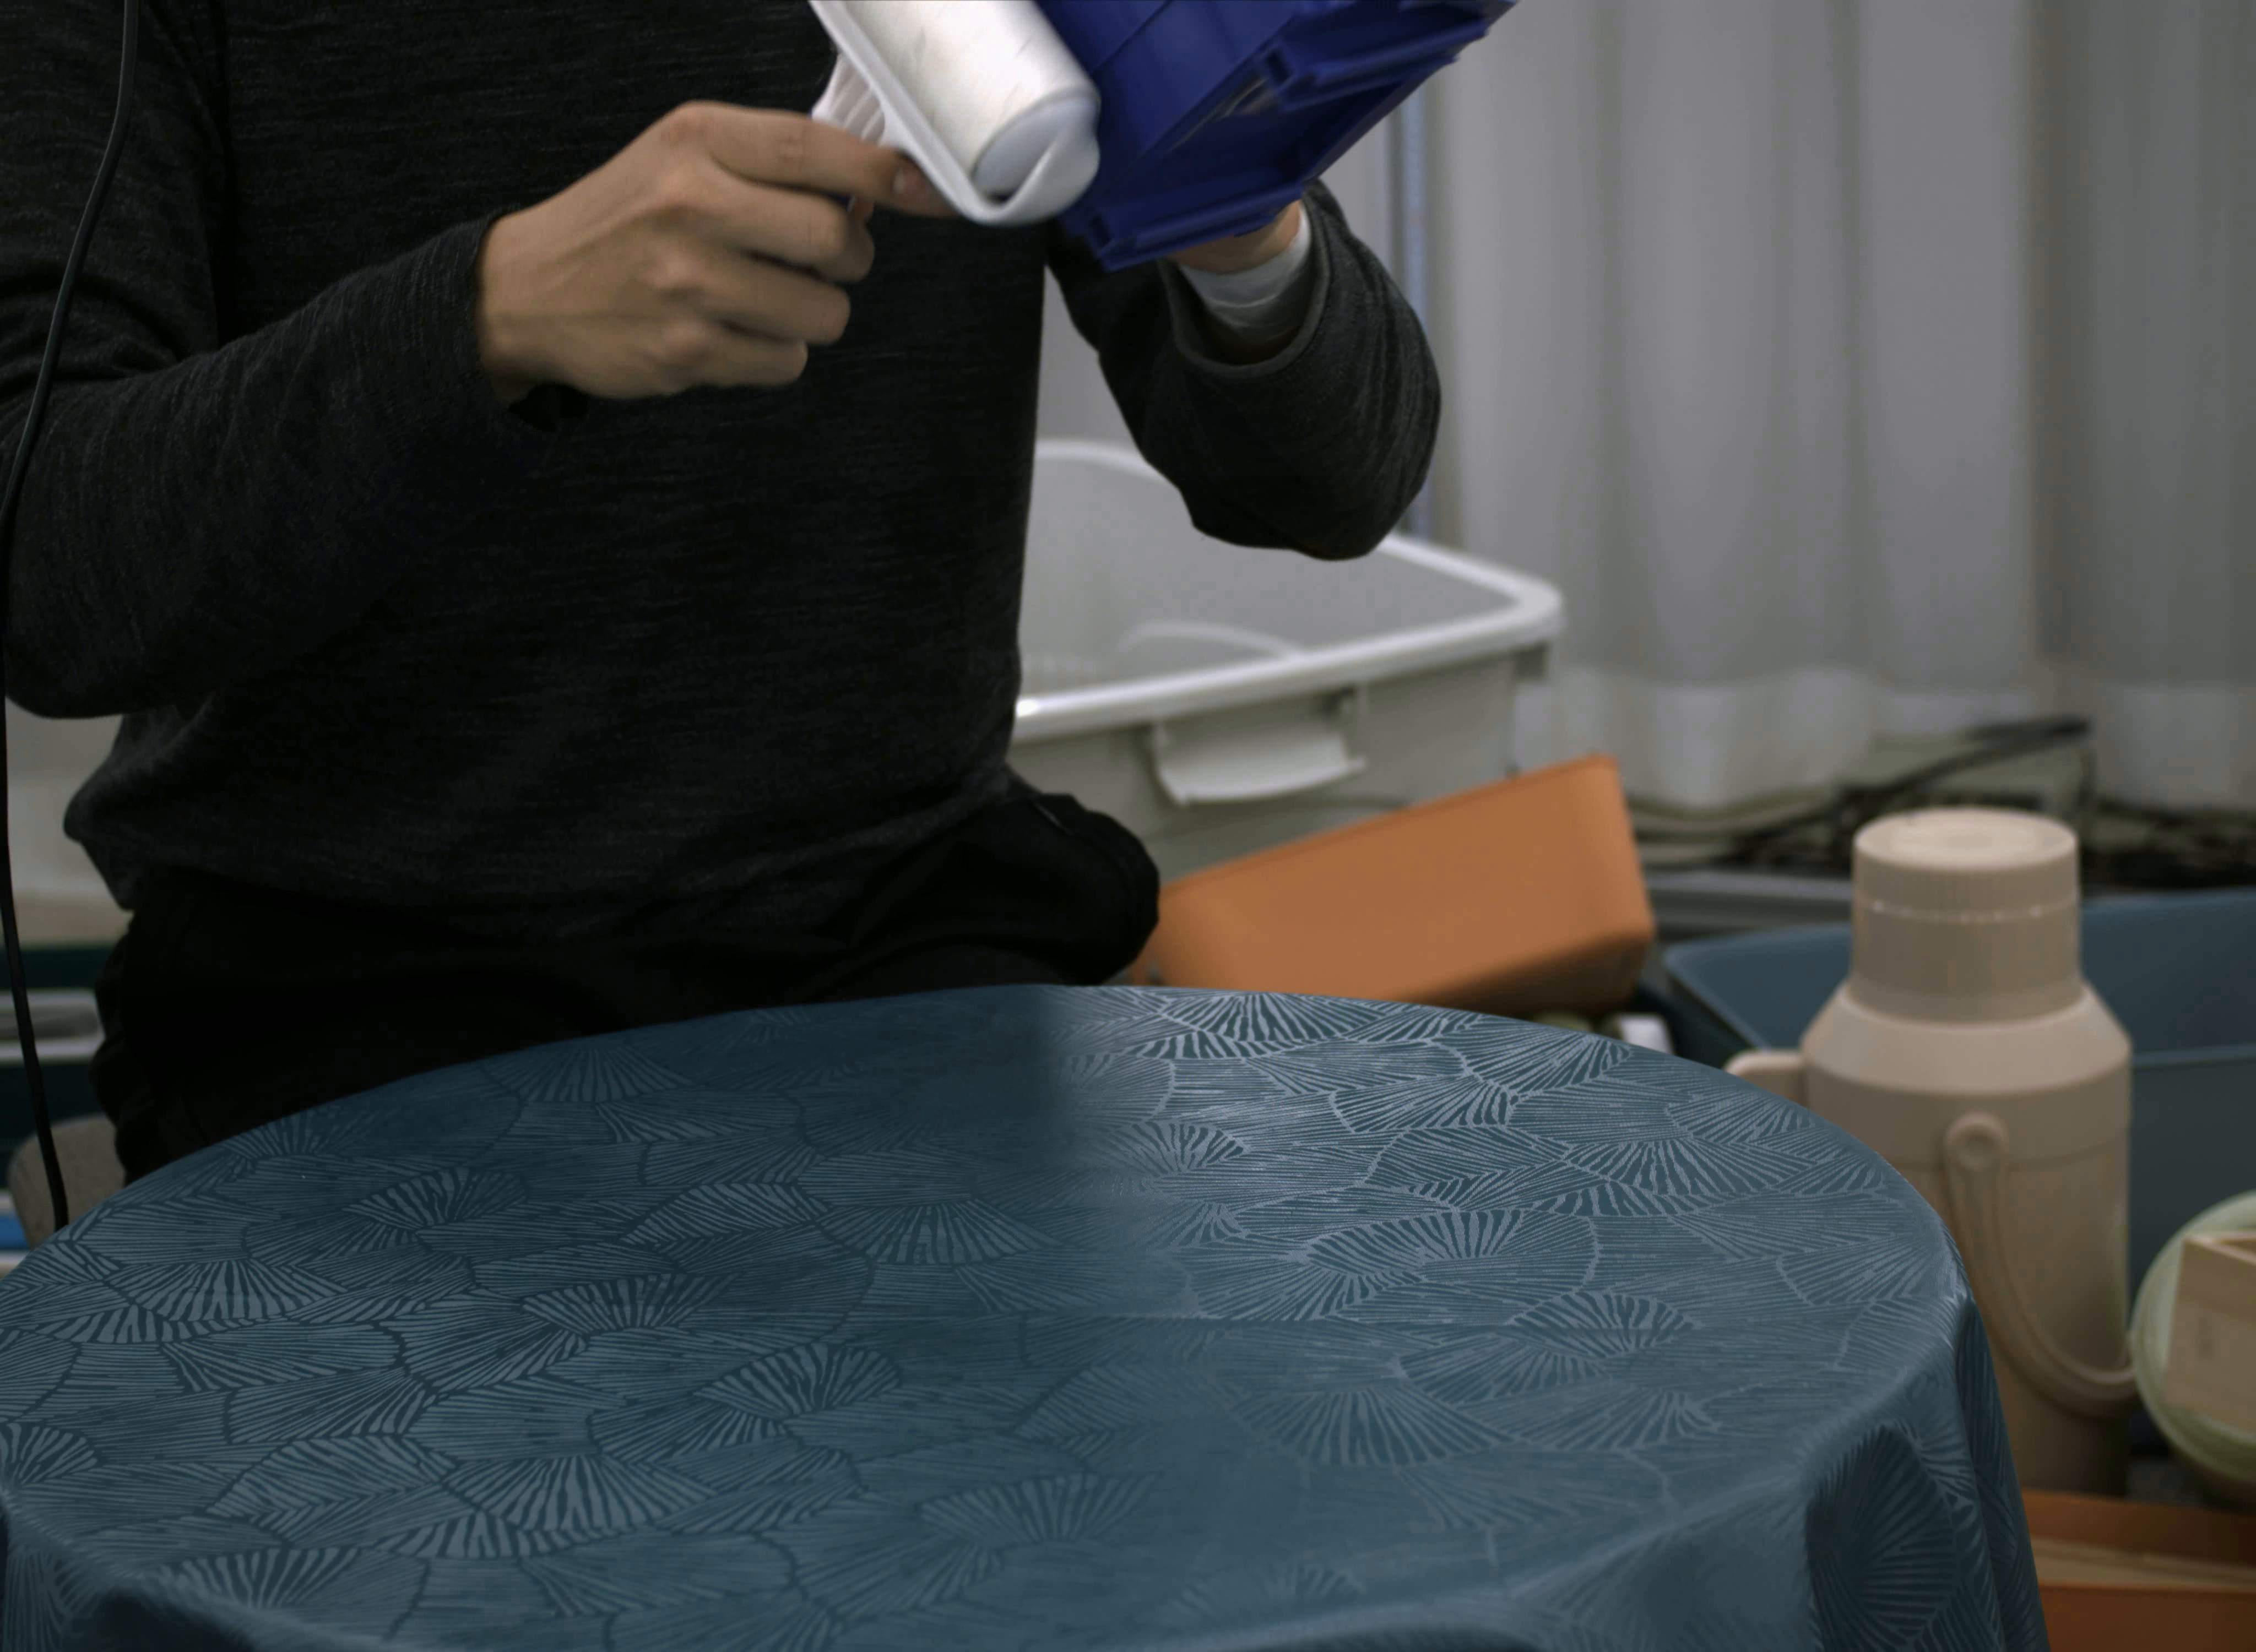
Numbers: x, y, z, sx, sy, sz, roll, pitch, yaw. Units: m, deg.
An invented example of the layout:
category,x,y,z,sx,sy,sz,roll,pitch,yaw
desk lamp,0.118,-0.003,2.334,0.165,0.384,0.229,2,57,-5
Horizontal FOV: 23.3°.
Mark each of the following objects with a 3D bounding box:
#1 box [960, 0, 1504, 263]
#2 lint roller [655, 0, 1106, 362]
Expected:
category,x,y,z,sx,sy,sz,roll,pitch,yaw
box,0.031,-0.258,1.603,0.082,0.125,0.178,-19,-12,-38
lint roller,-0.095,-0.204,1.640,0.180,0.134,0.050,-42,-19,26
